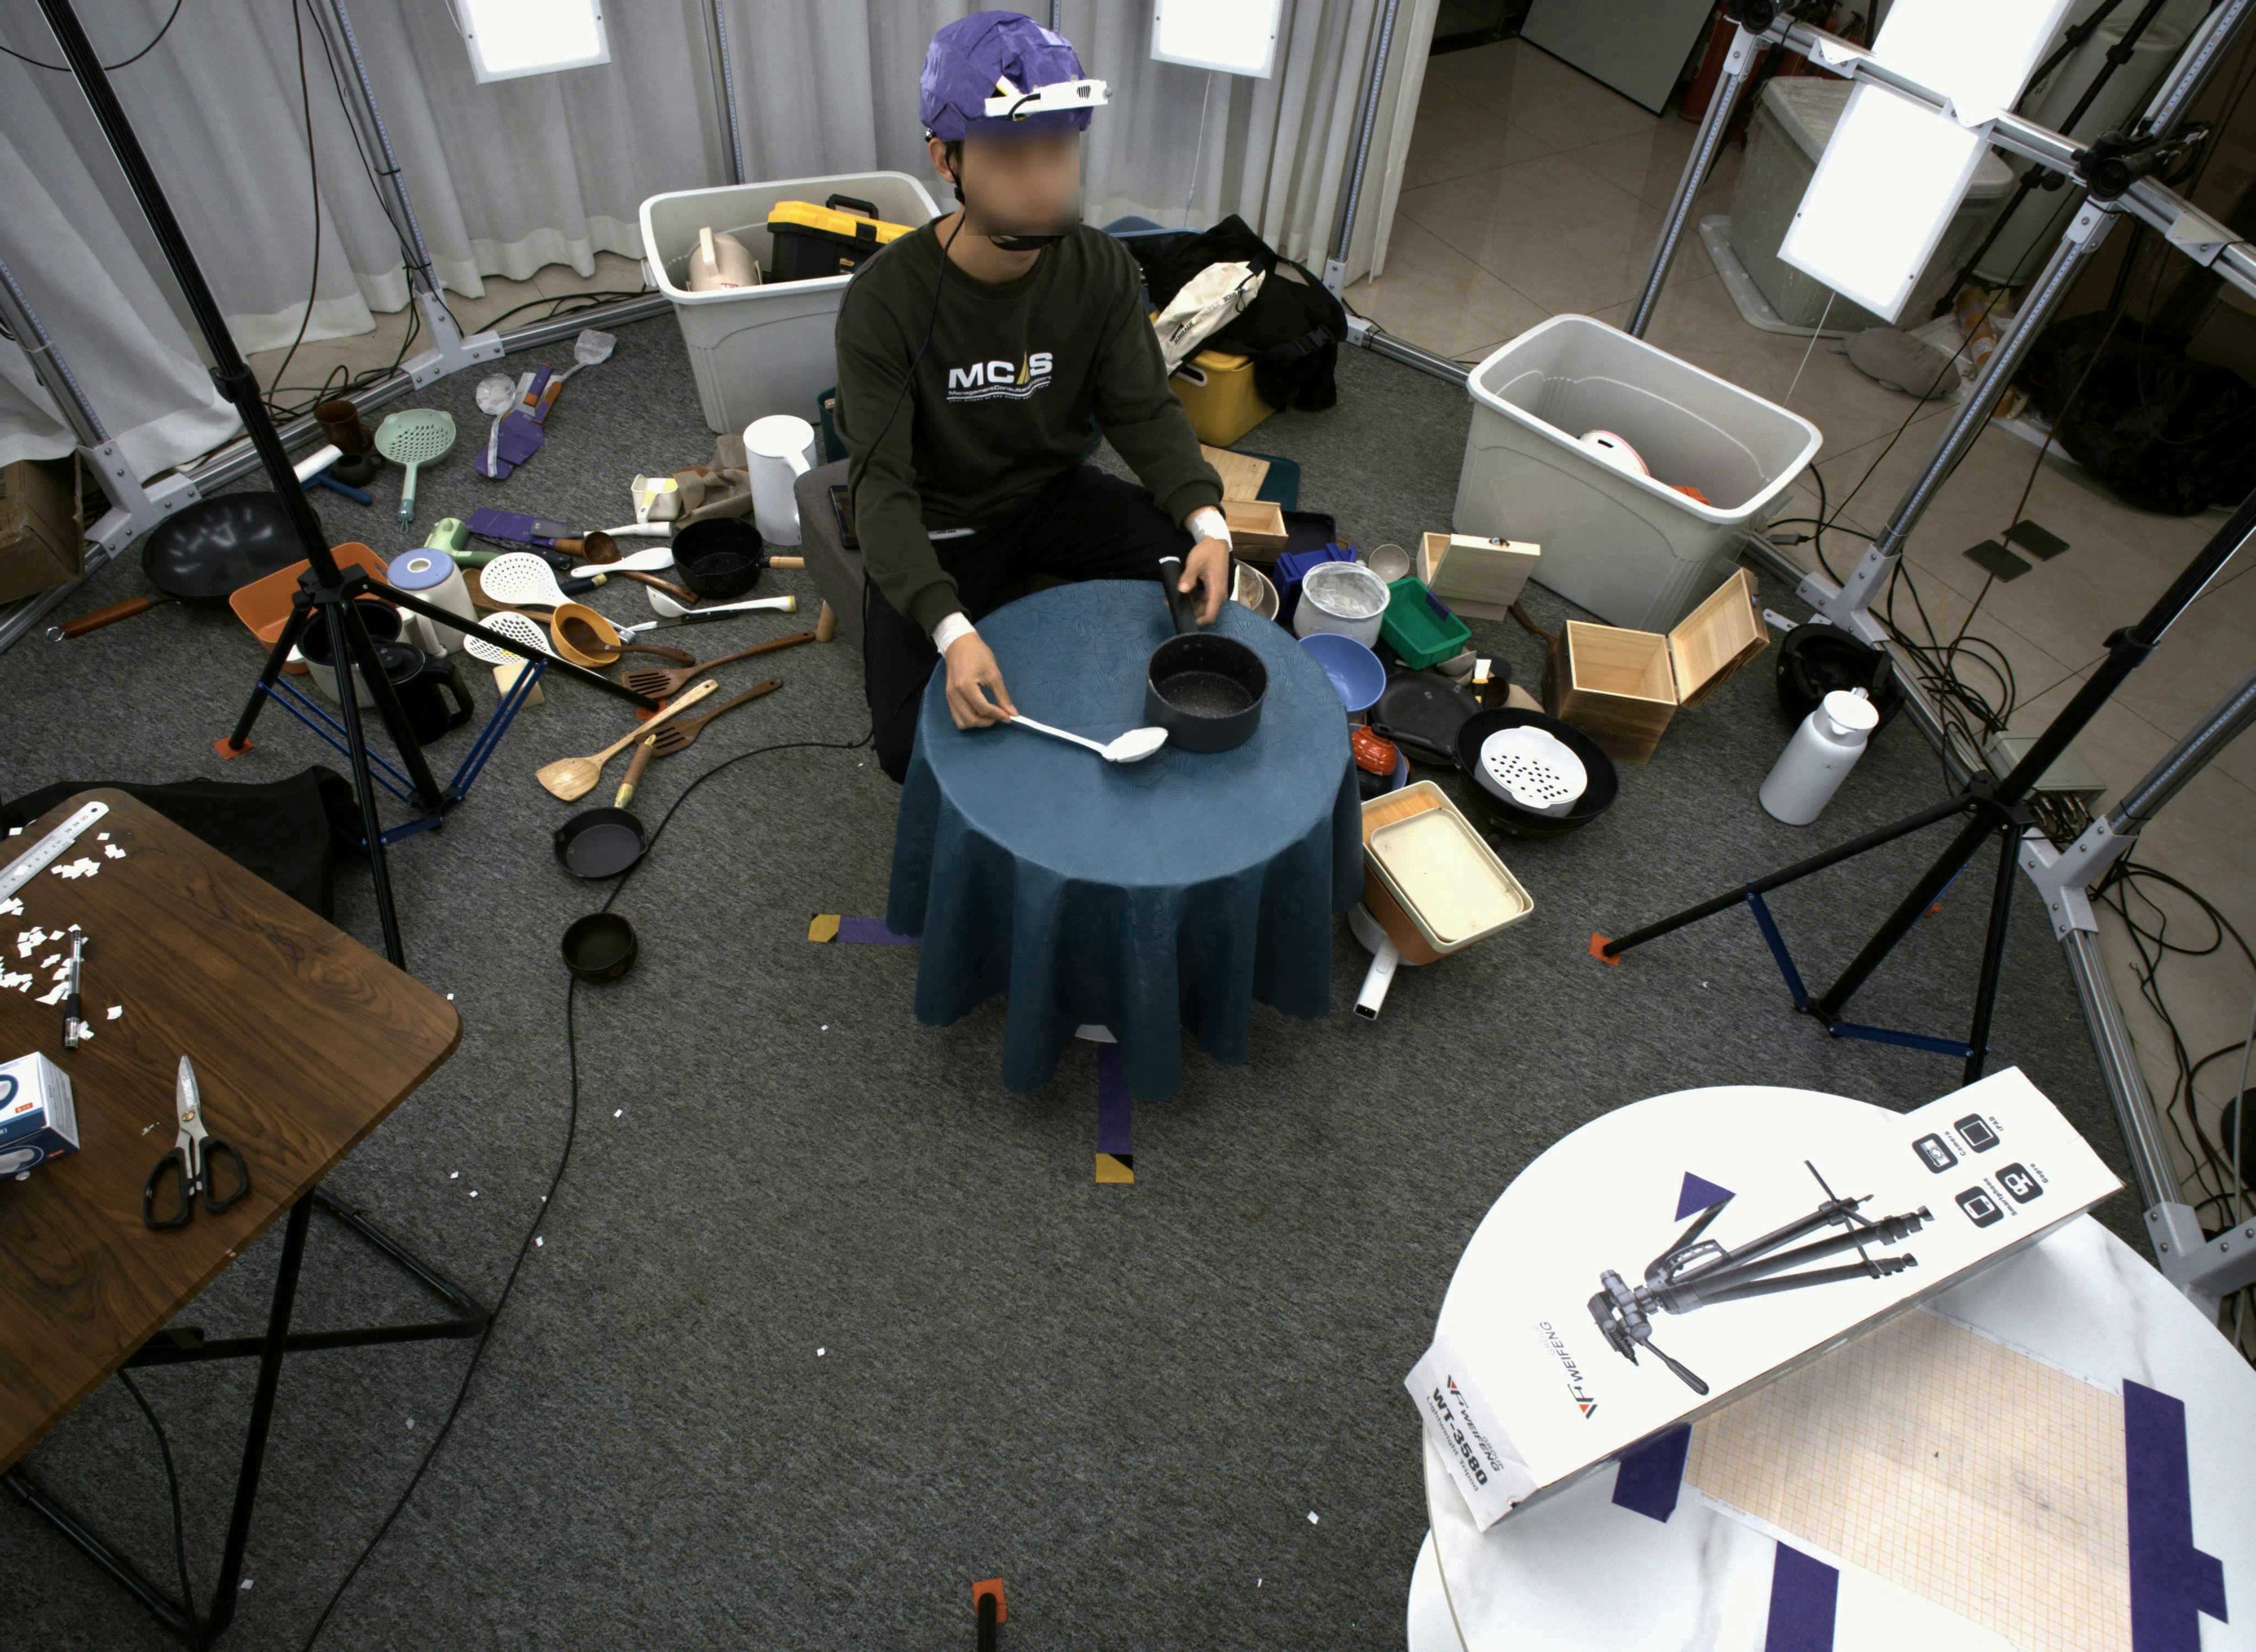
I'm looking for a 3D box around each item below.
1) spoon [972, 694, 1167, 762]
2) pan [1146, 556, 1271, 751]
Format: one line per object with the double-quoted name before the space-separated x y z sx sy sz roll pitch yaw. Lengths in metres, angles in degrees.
"spoon" -0.082 -0.151 1.749 0.278 0.058 0.102 23 32 10
"pan" 0.096 -0.249 1.836 0.172 0.084 0.337 -4 50 -9
